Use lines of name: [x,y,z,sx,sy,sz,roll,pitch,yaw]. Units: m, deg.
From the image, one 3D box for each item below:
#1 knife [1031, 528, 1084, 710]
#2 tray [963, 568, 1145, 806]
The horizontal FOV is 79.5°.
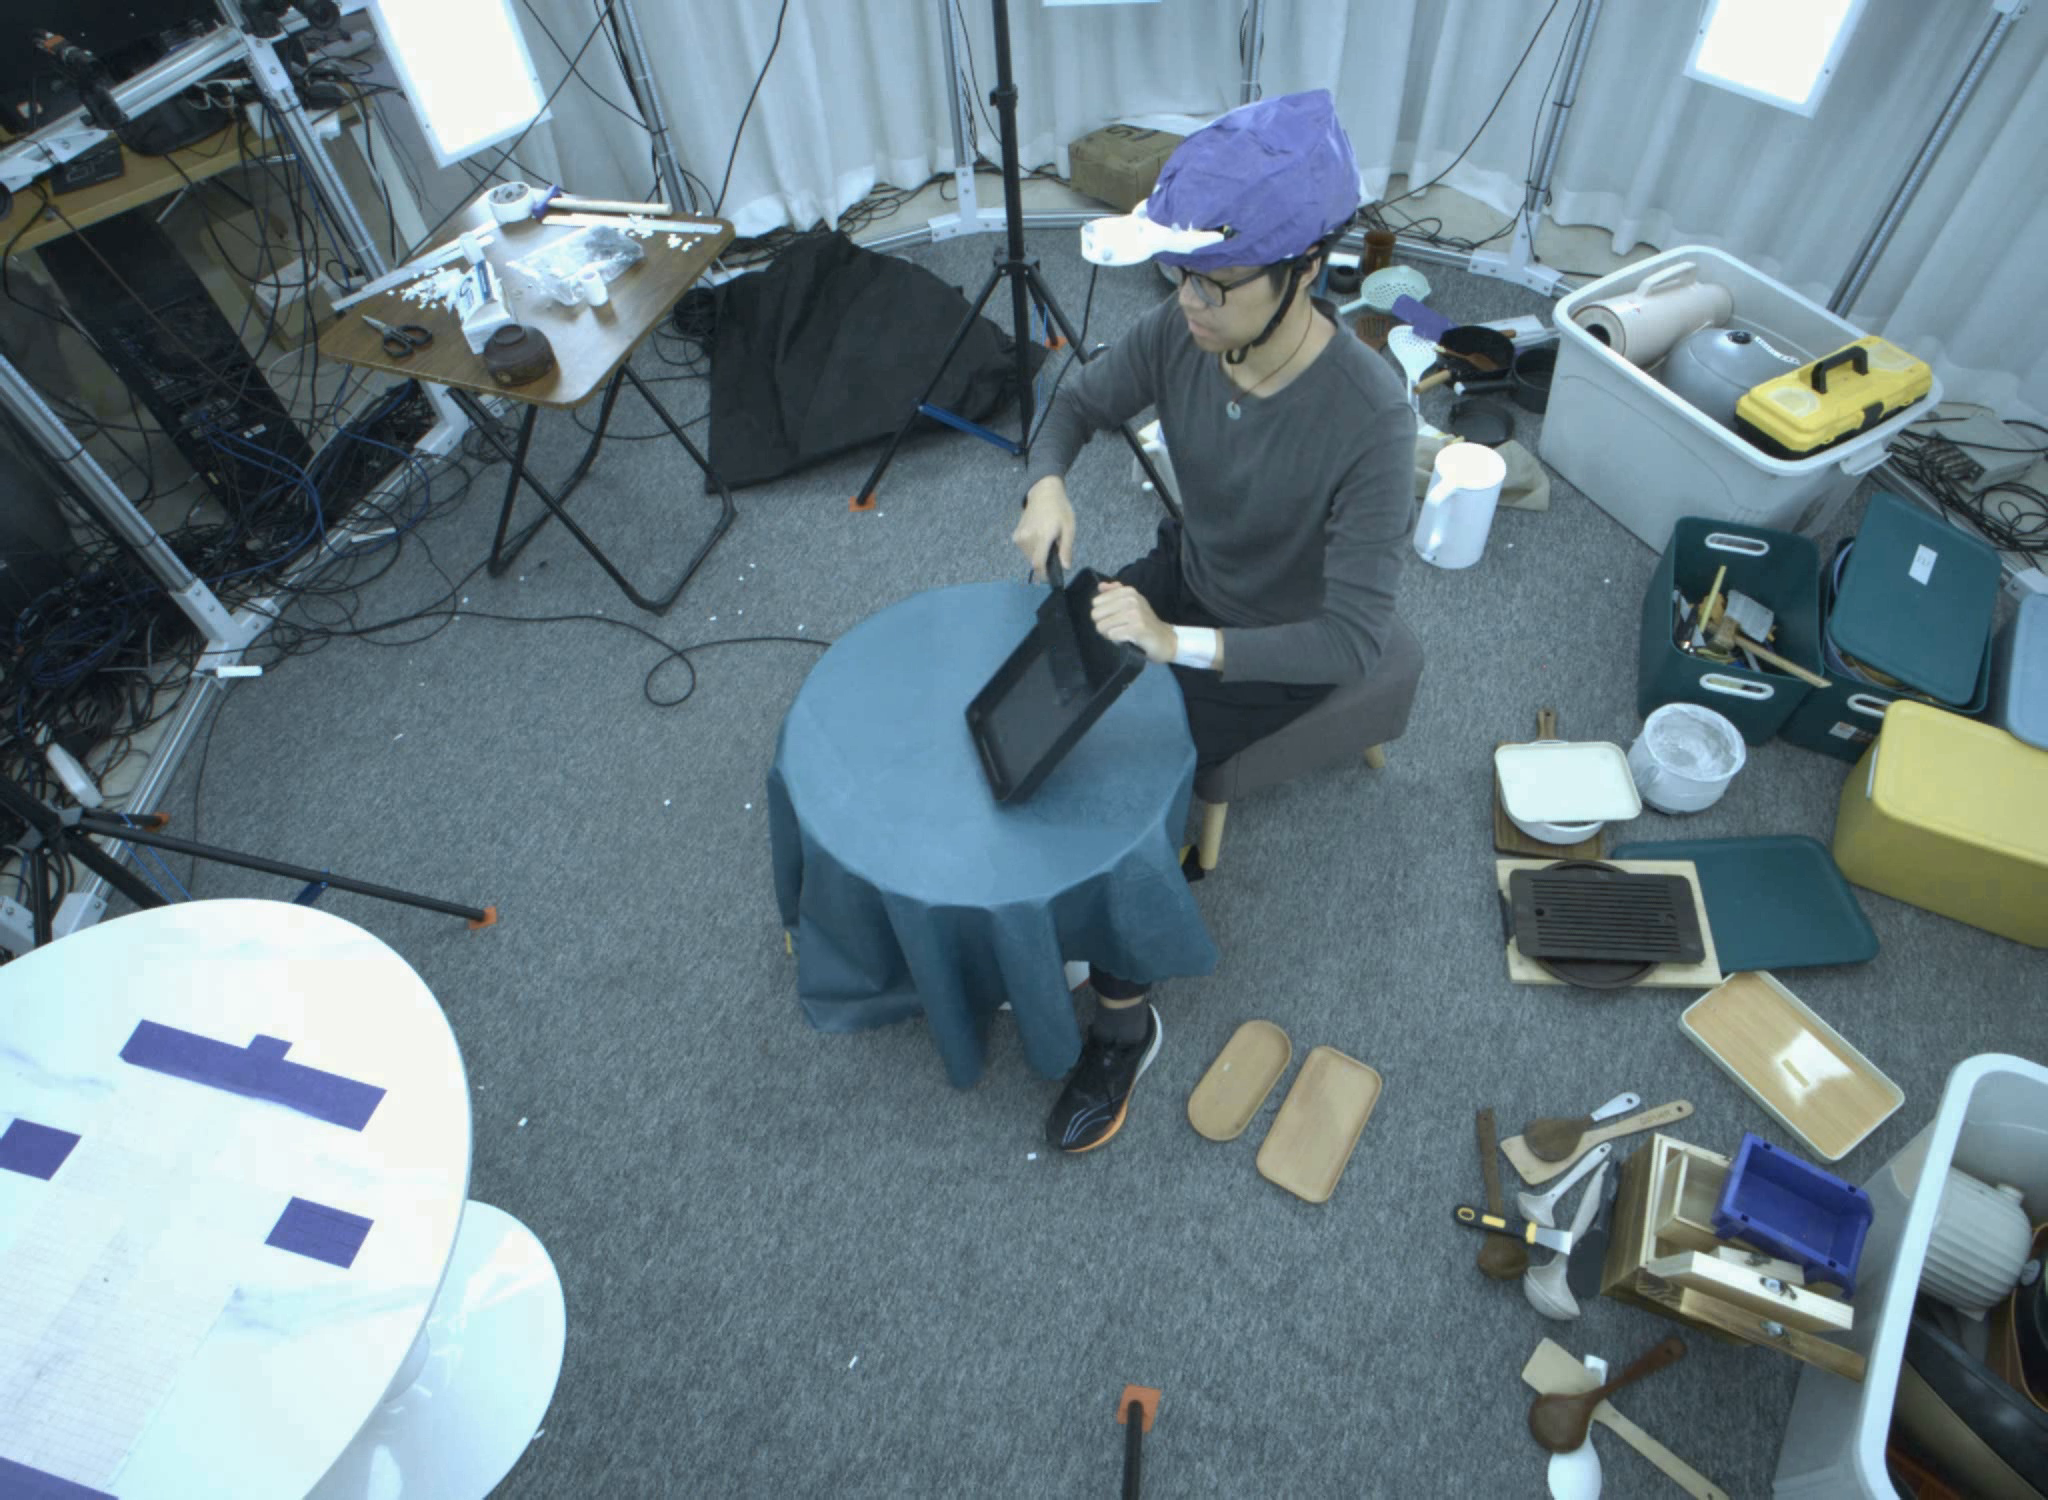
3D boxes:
knife: [0.038,-0.189,1.684,0.021,0.080,0.298,14,53,-32]
tray: [0.034,-0.082,1.695,0.038,0.316,0.181,12,41,-39]
